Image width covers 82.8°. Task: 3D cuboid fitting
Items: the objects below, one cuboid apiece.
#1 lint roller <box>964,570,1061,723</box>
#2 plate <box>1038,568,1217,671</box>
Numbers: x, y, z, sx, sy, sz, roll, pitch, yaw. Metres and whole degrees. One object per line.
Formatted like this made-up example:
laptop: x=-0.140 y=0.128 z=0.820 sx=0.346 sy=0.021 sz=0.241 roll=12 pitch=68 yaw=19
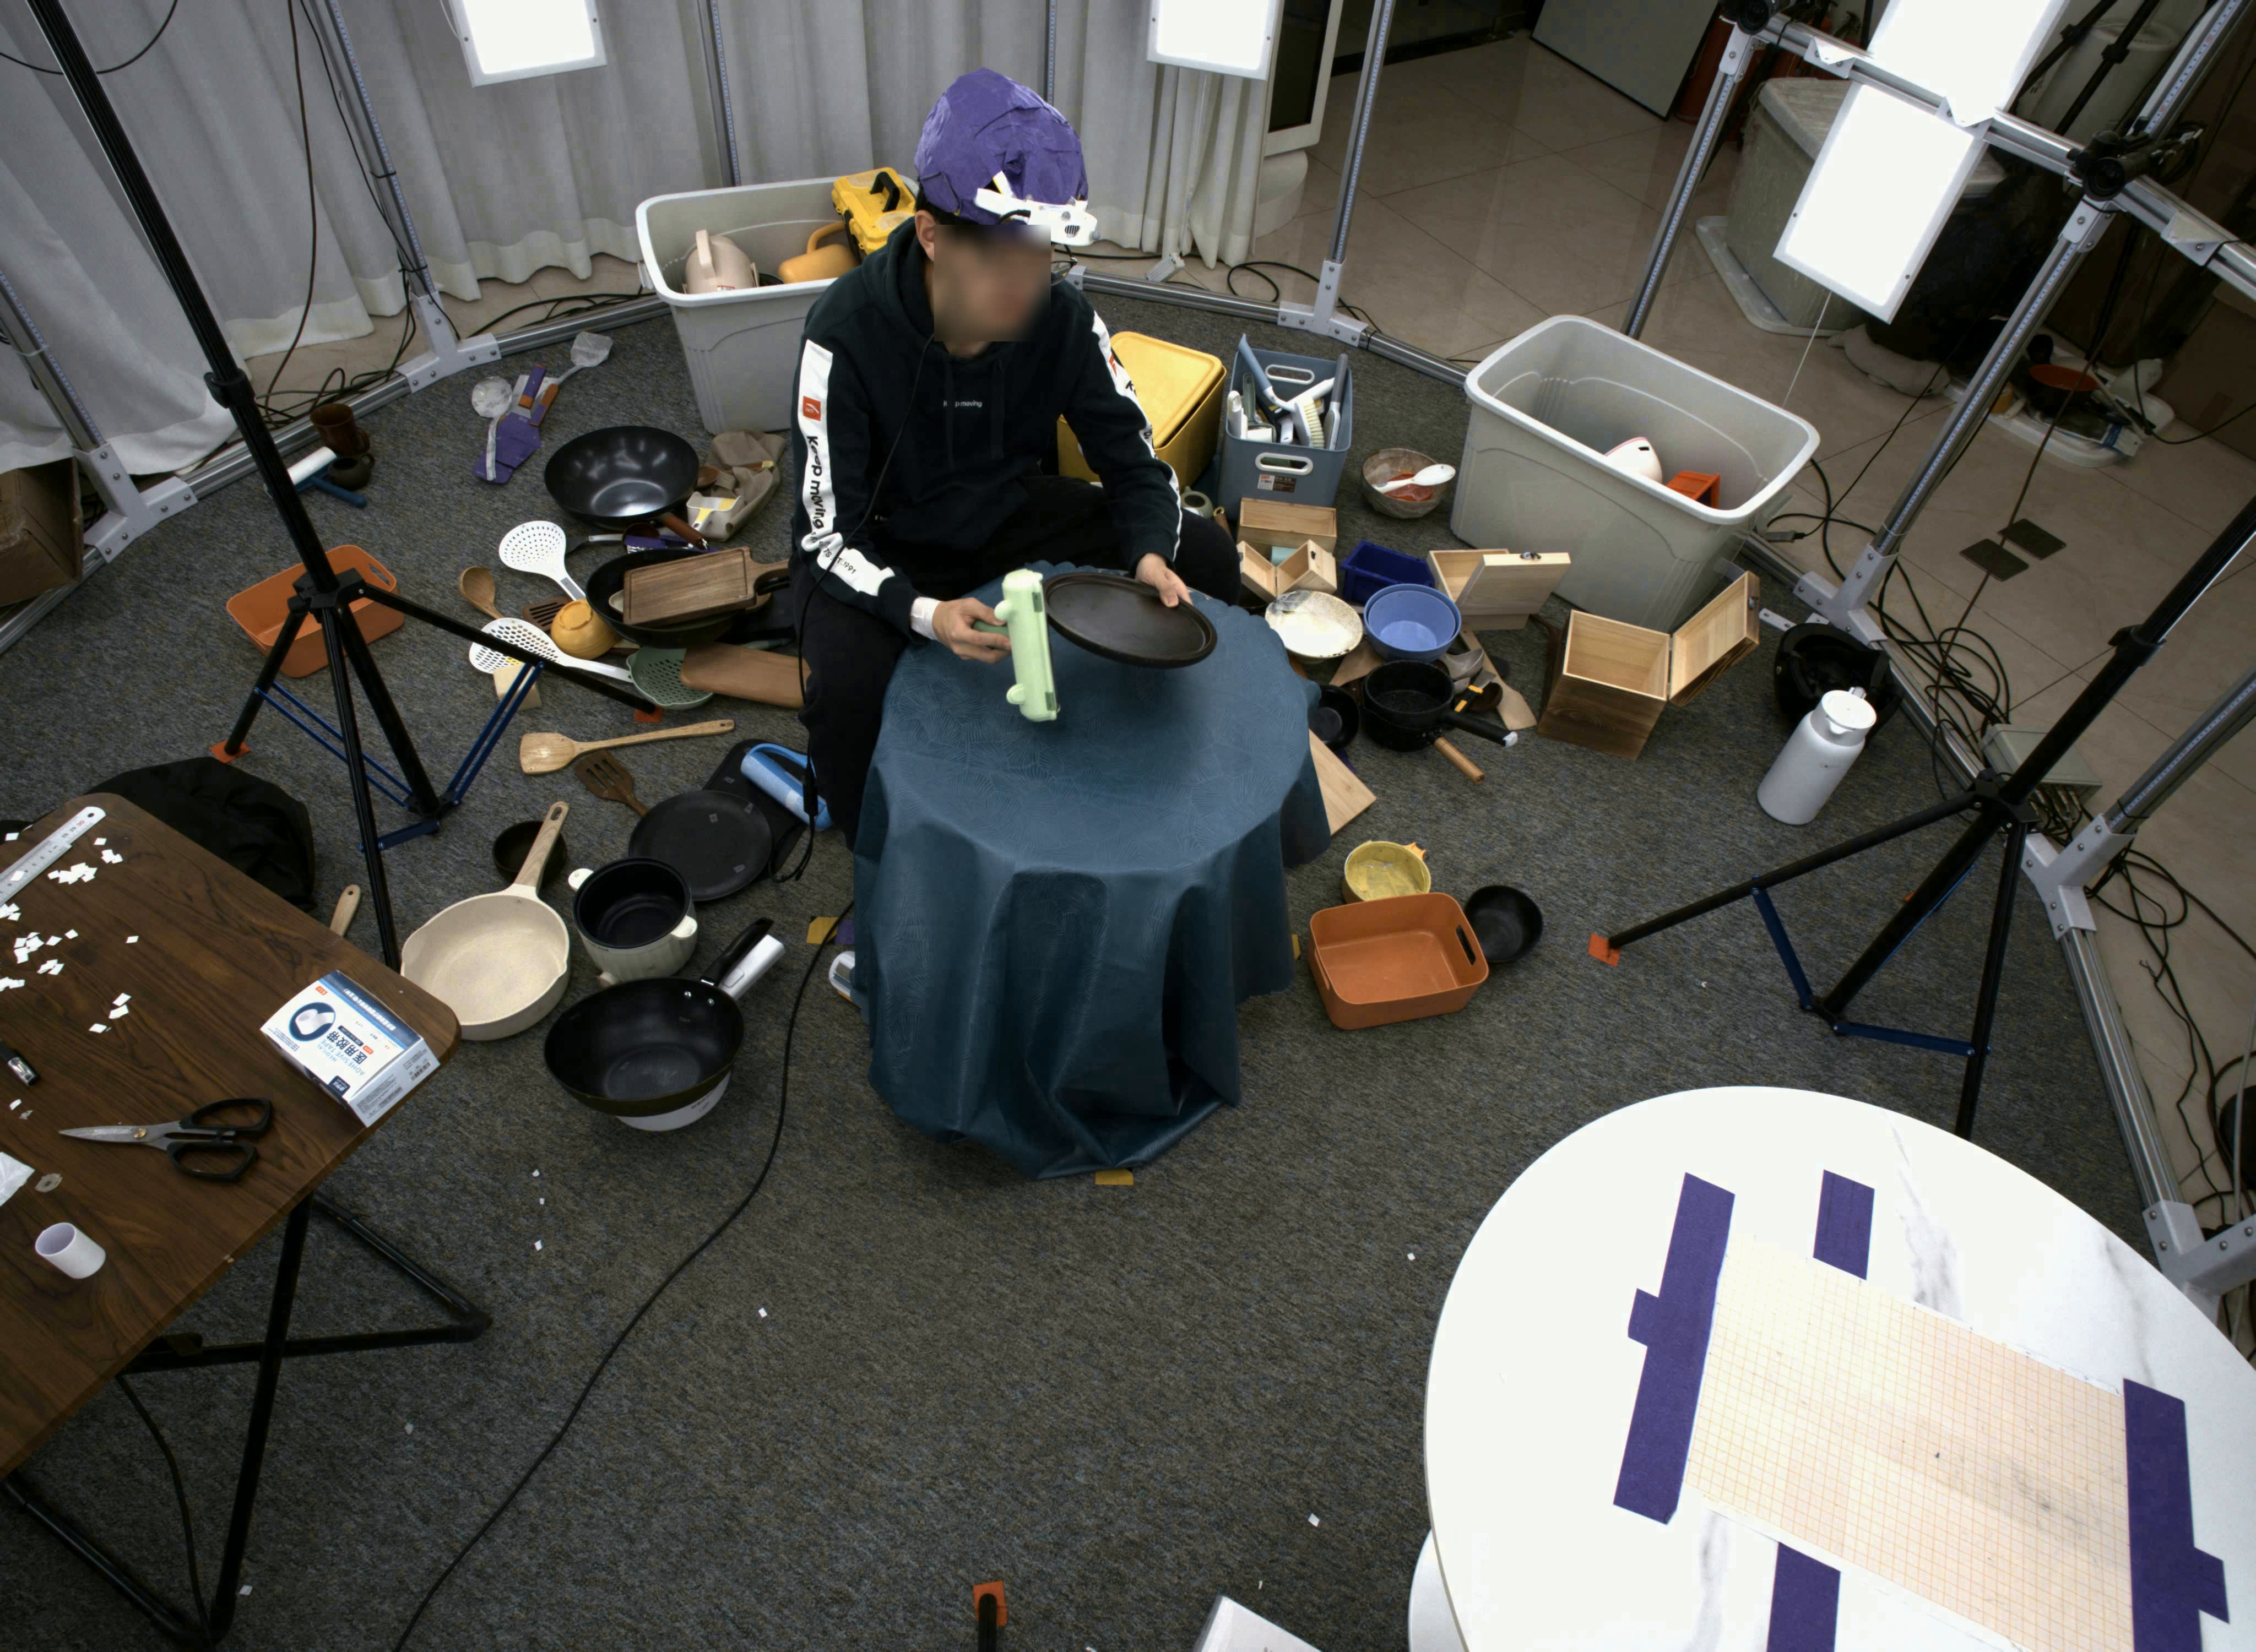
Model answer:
lint roller: x=-0.173 y=-0.242 z=1.711 sx=0.185 sy=0.195 sz=0.083 roll=14 pitch=32 yaw=39
plate: x=-0.002 y=-0.280 z=1.750 sx=0.254 sy=0.028 sz=0.260 roll=11 pitch=33 yaw=-8
